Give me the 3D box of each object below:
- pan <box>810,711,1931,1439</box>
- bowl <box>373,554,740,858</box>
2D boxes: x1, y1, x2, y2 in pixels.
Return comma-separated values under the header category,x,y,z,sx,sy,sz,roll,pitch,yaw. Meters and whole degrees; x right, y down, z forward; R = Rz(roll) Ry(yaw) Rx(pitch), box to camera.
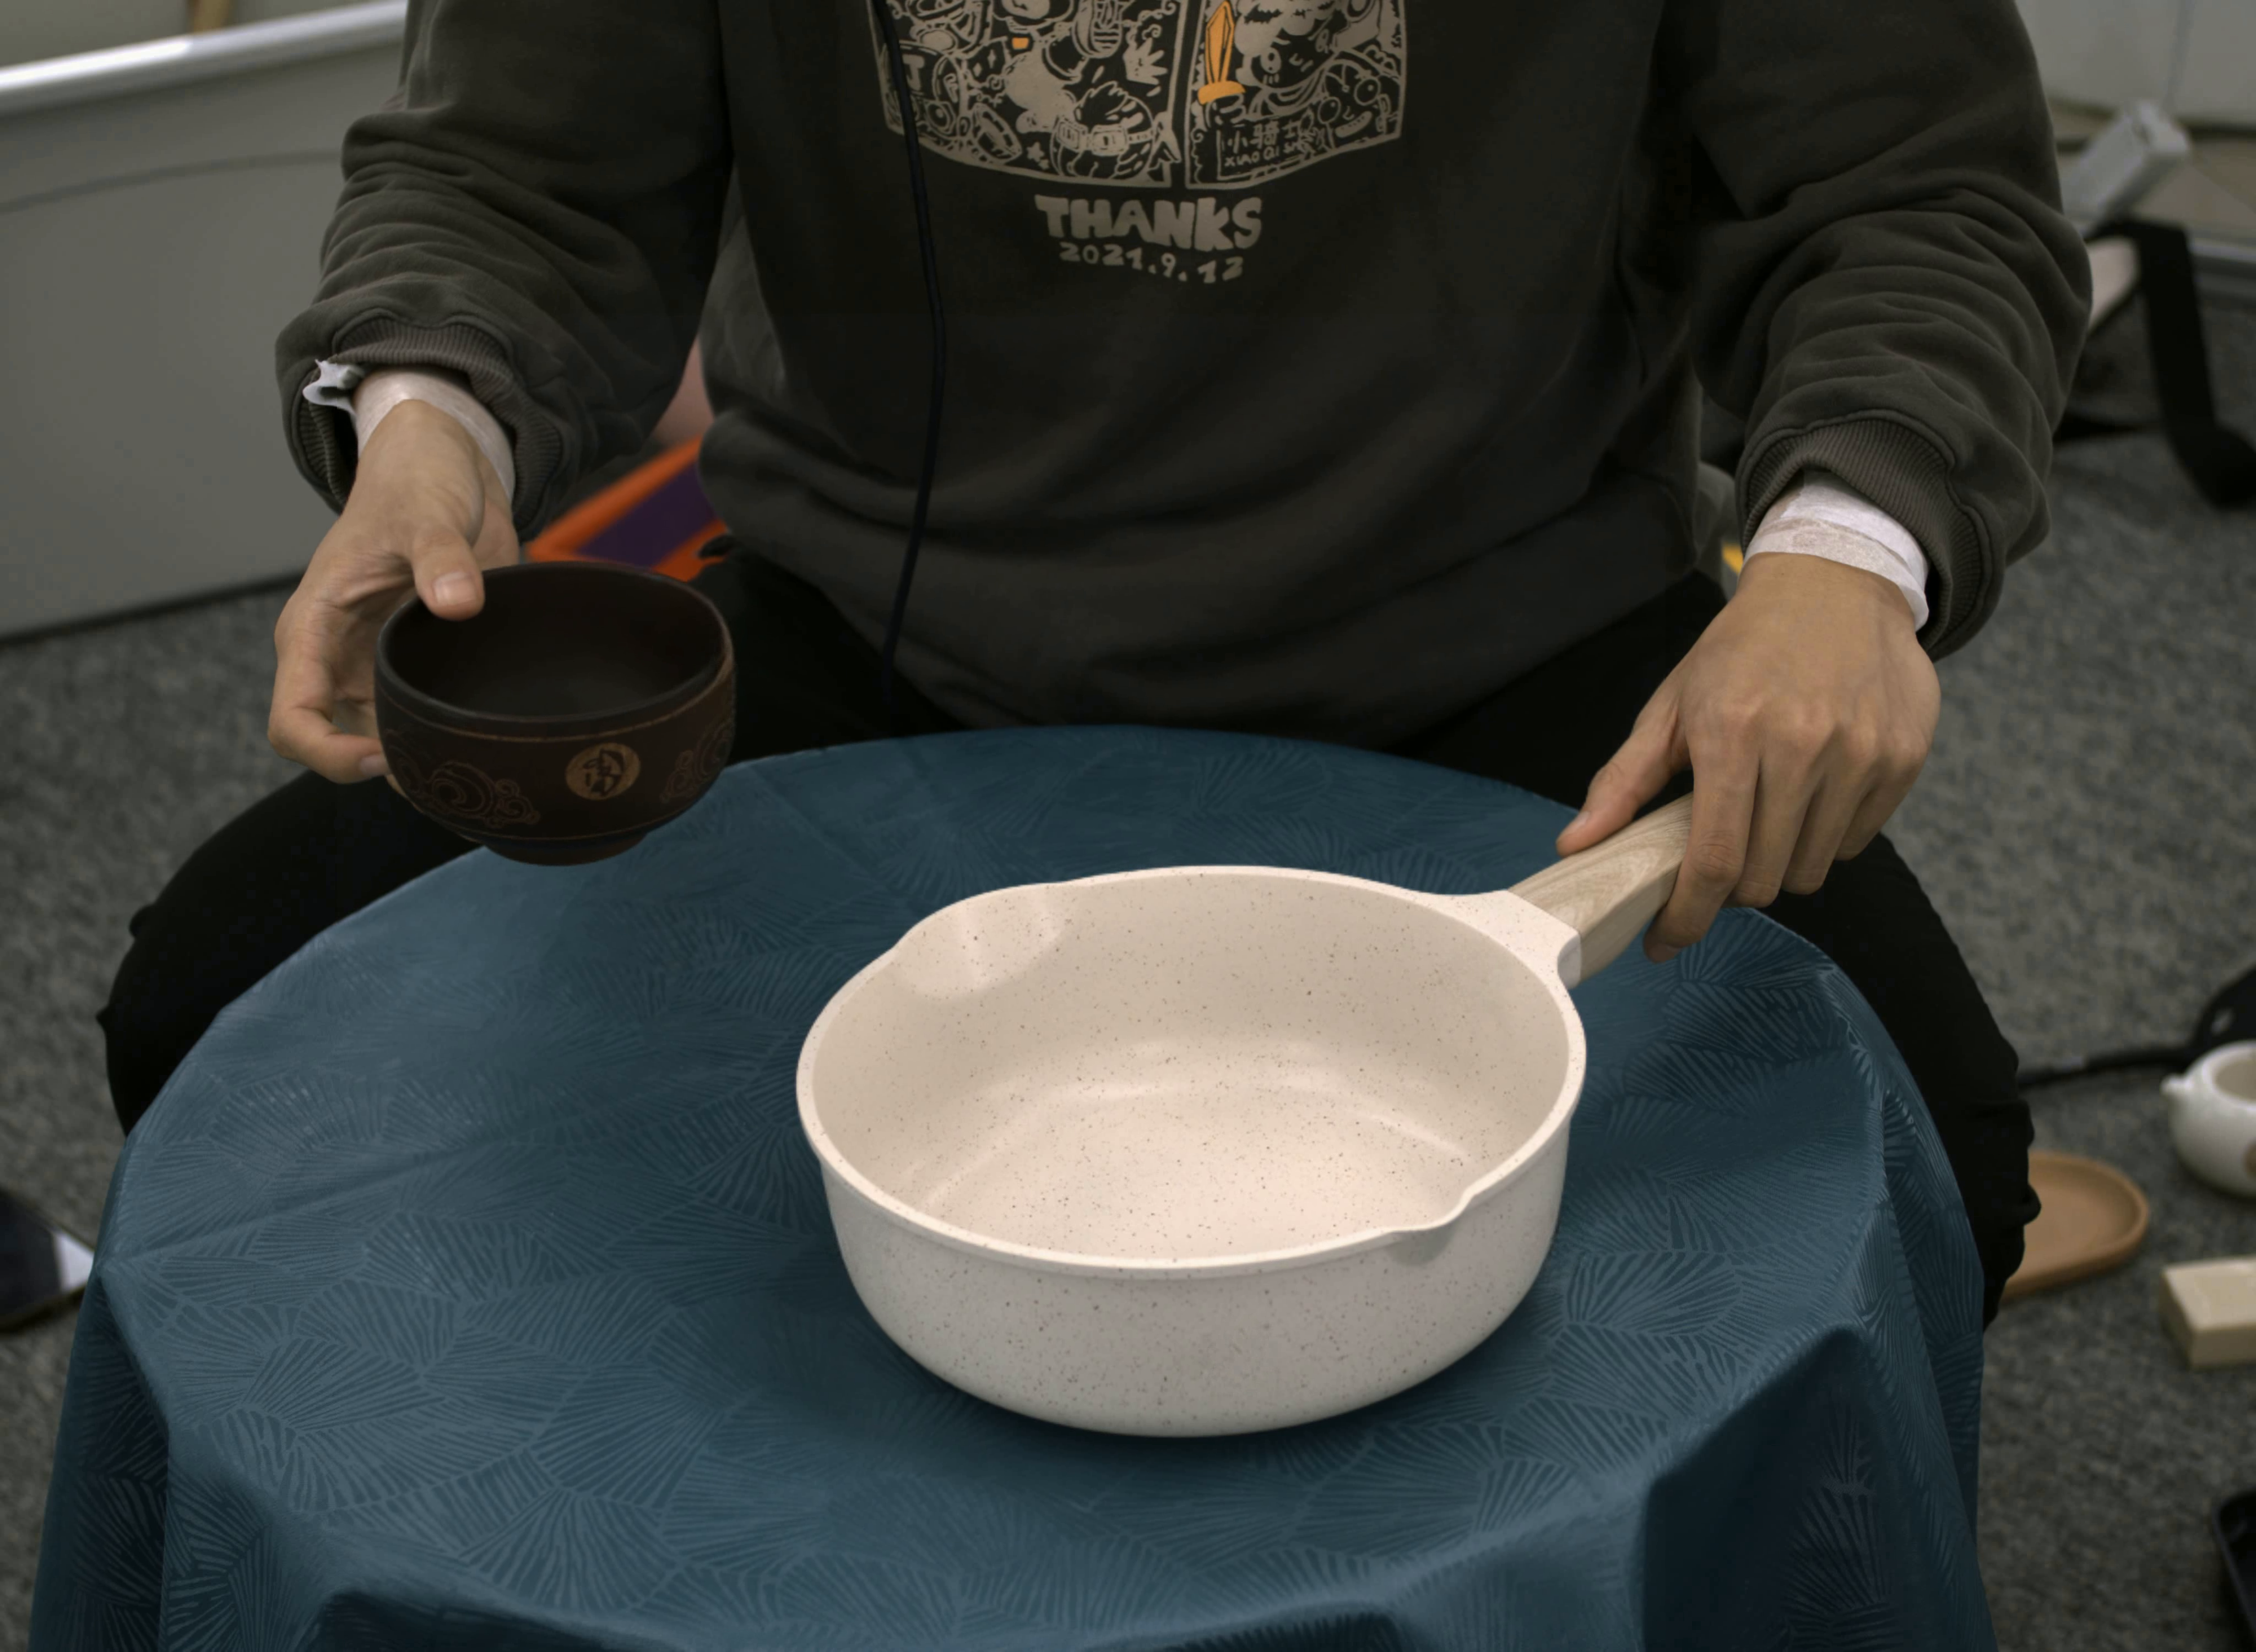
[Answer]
category,x,y,z,sx,sy,sz,roll,pitch,yaw
pan,0.100,0.074,1.837,0.438,0.101,0.263,-20,30,-31
bowl,-0.183,-0.032,1.814,0.117,0.069,0.120,0,26,1
